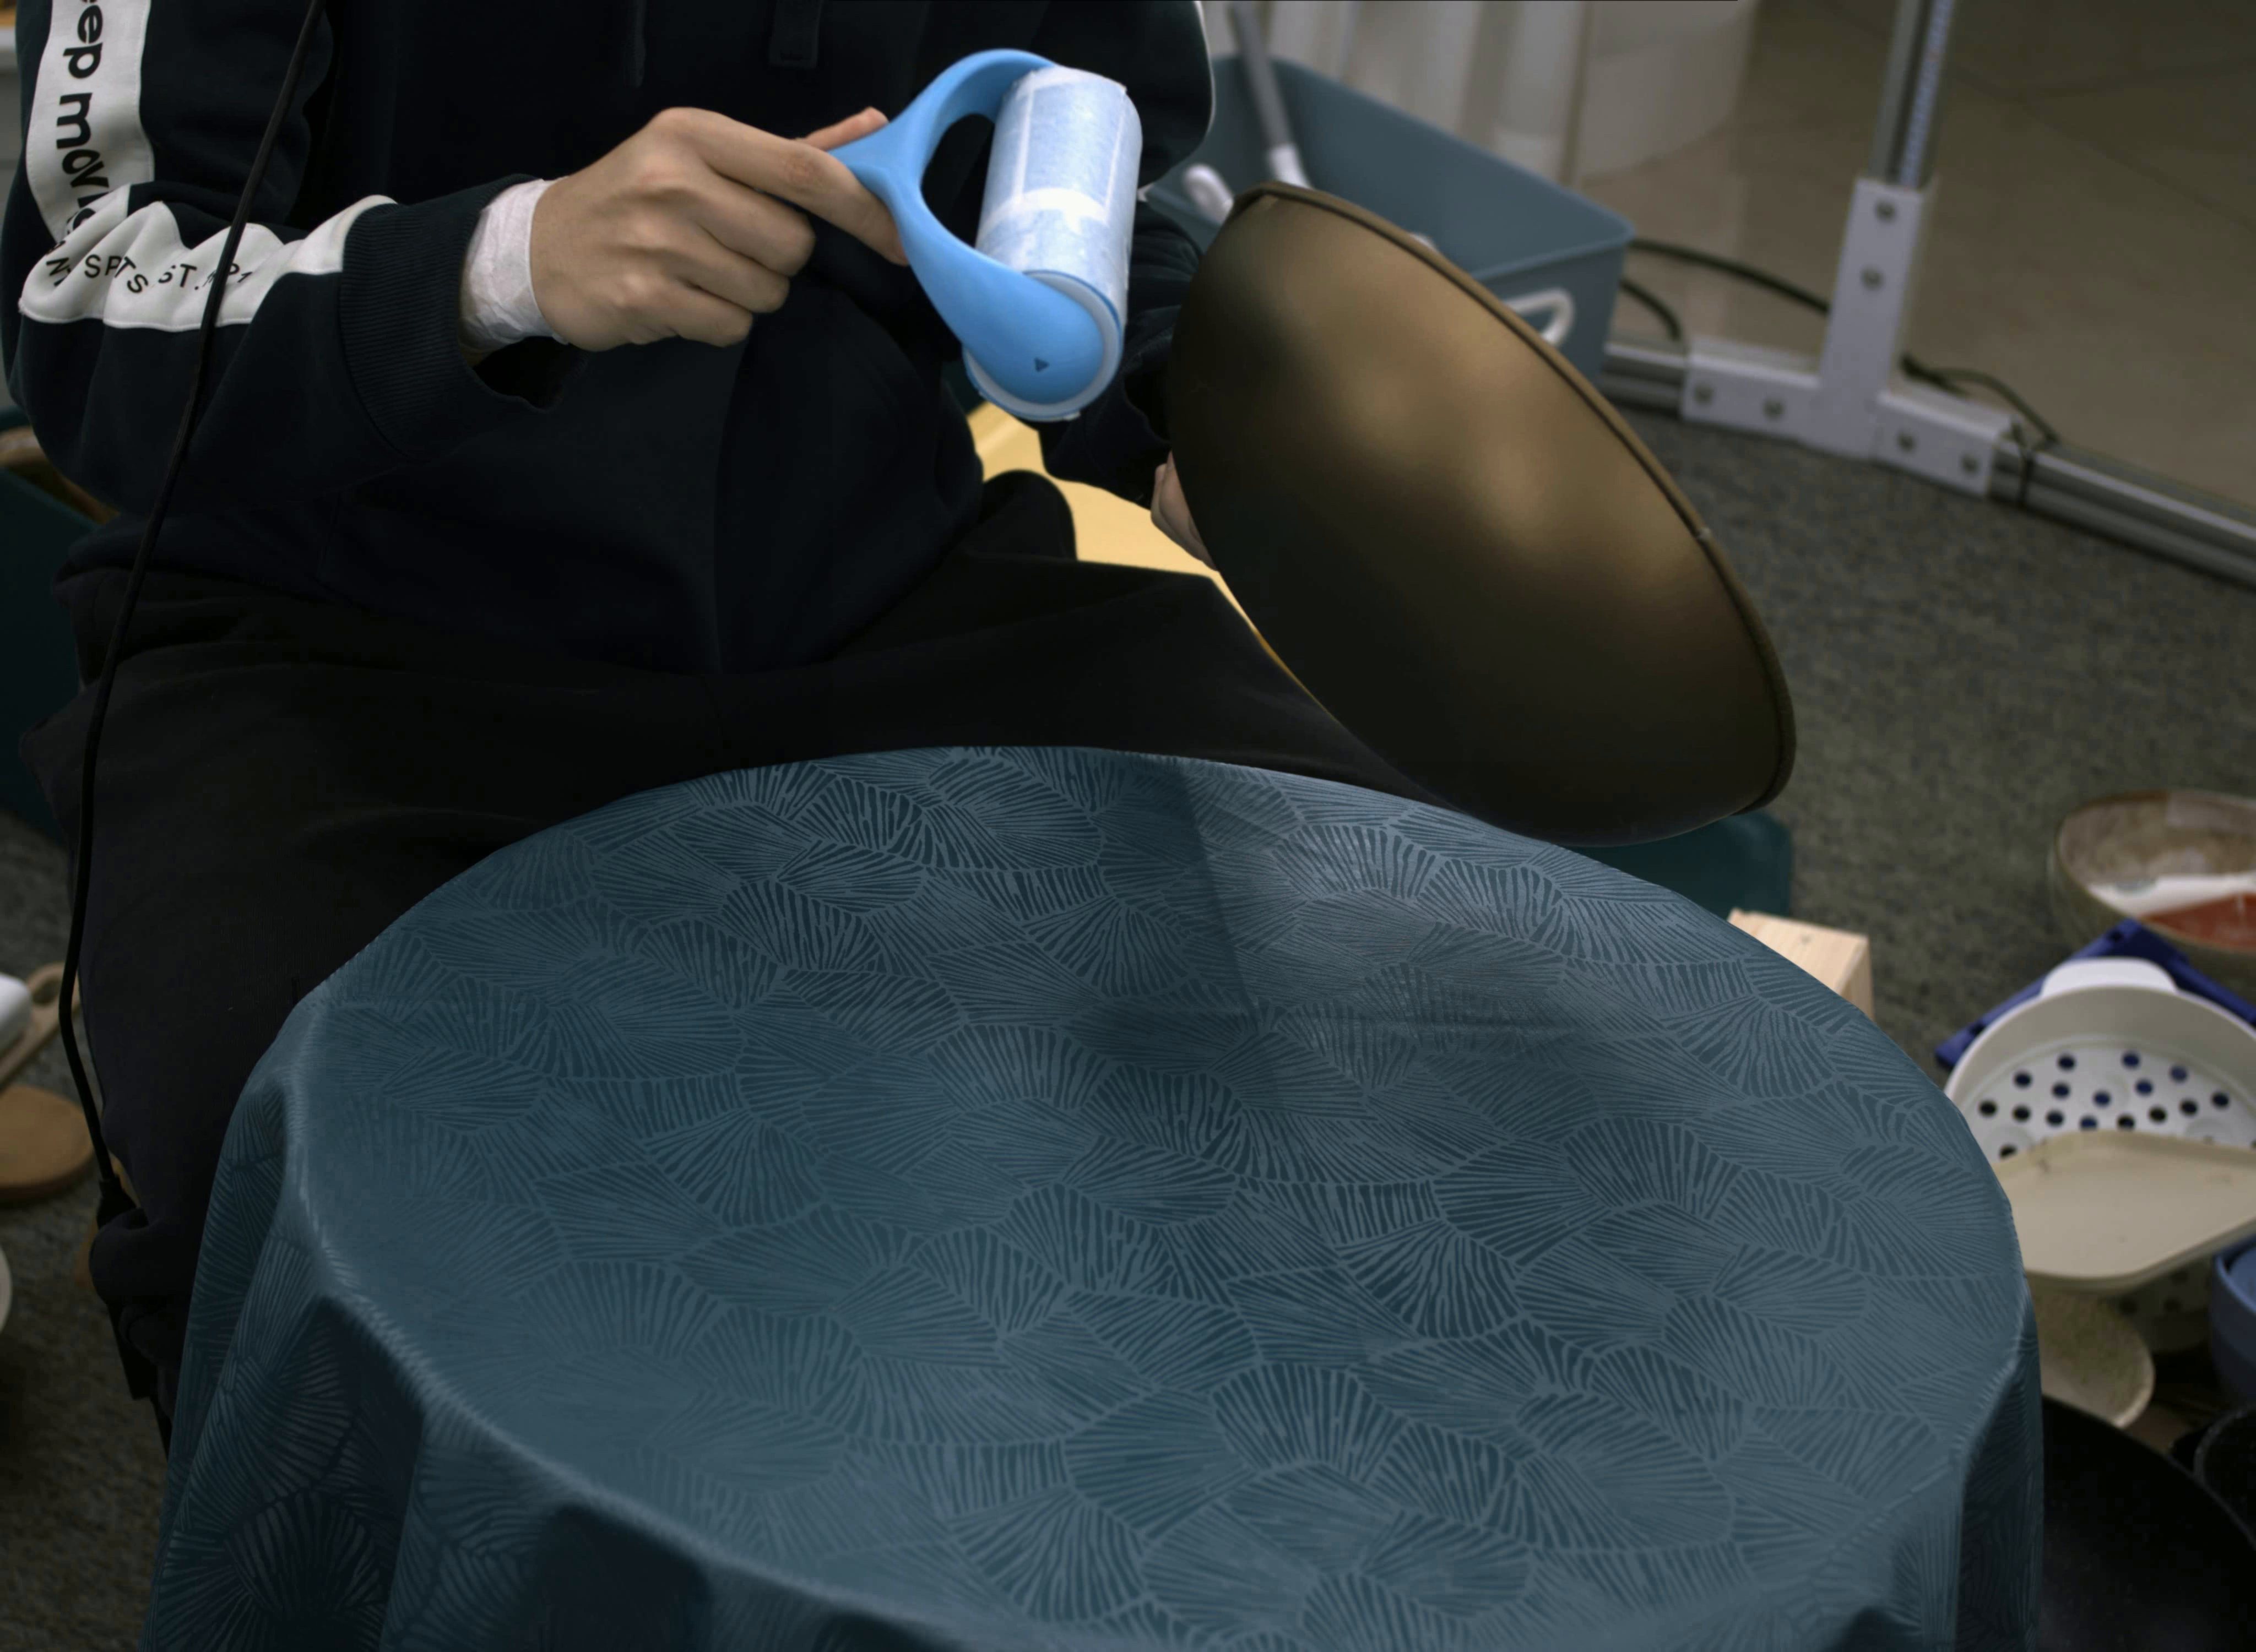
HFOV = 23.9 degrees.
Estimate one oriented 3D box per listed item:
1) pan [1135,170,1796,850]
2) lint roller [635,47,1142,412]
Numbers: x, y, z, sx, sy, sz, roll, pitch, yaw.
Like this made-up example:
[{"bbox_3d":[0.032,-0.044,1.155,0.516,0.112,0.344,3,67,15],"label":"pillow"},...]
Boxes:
[{"bbox_3d":[0.068,-0.096,1.933,0.087,0.287,0.465,-41,17,-15],"label":"pan"},{"bbox_3d":[-0.082,-0.203,1.828,0.180,0.067,0.230,-3,29,0],"label":"lint roller"}]
